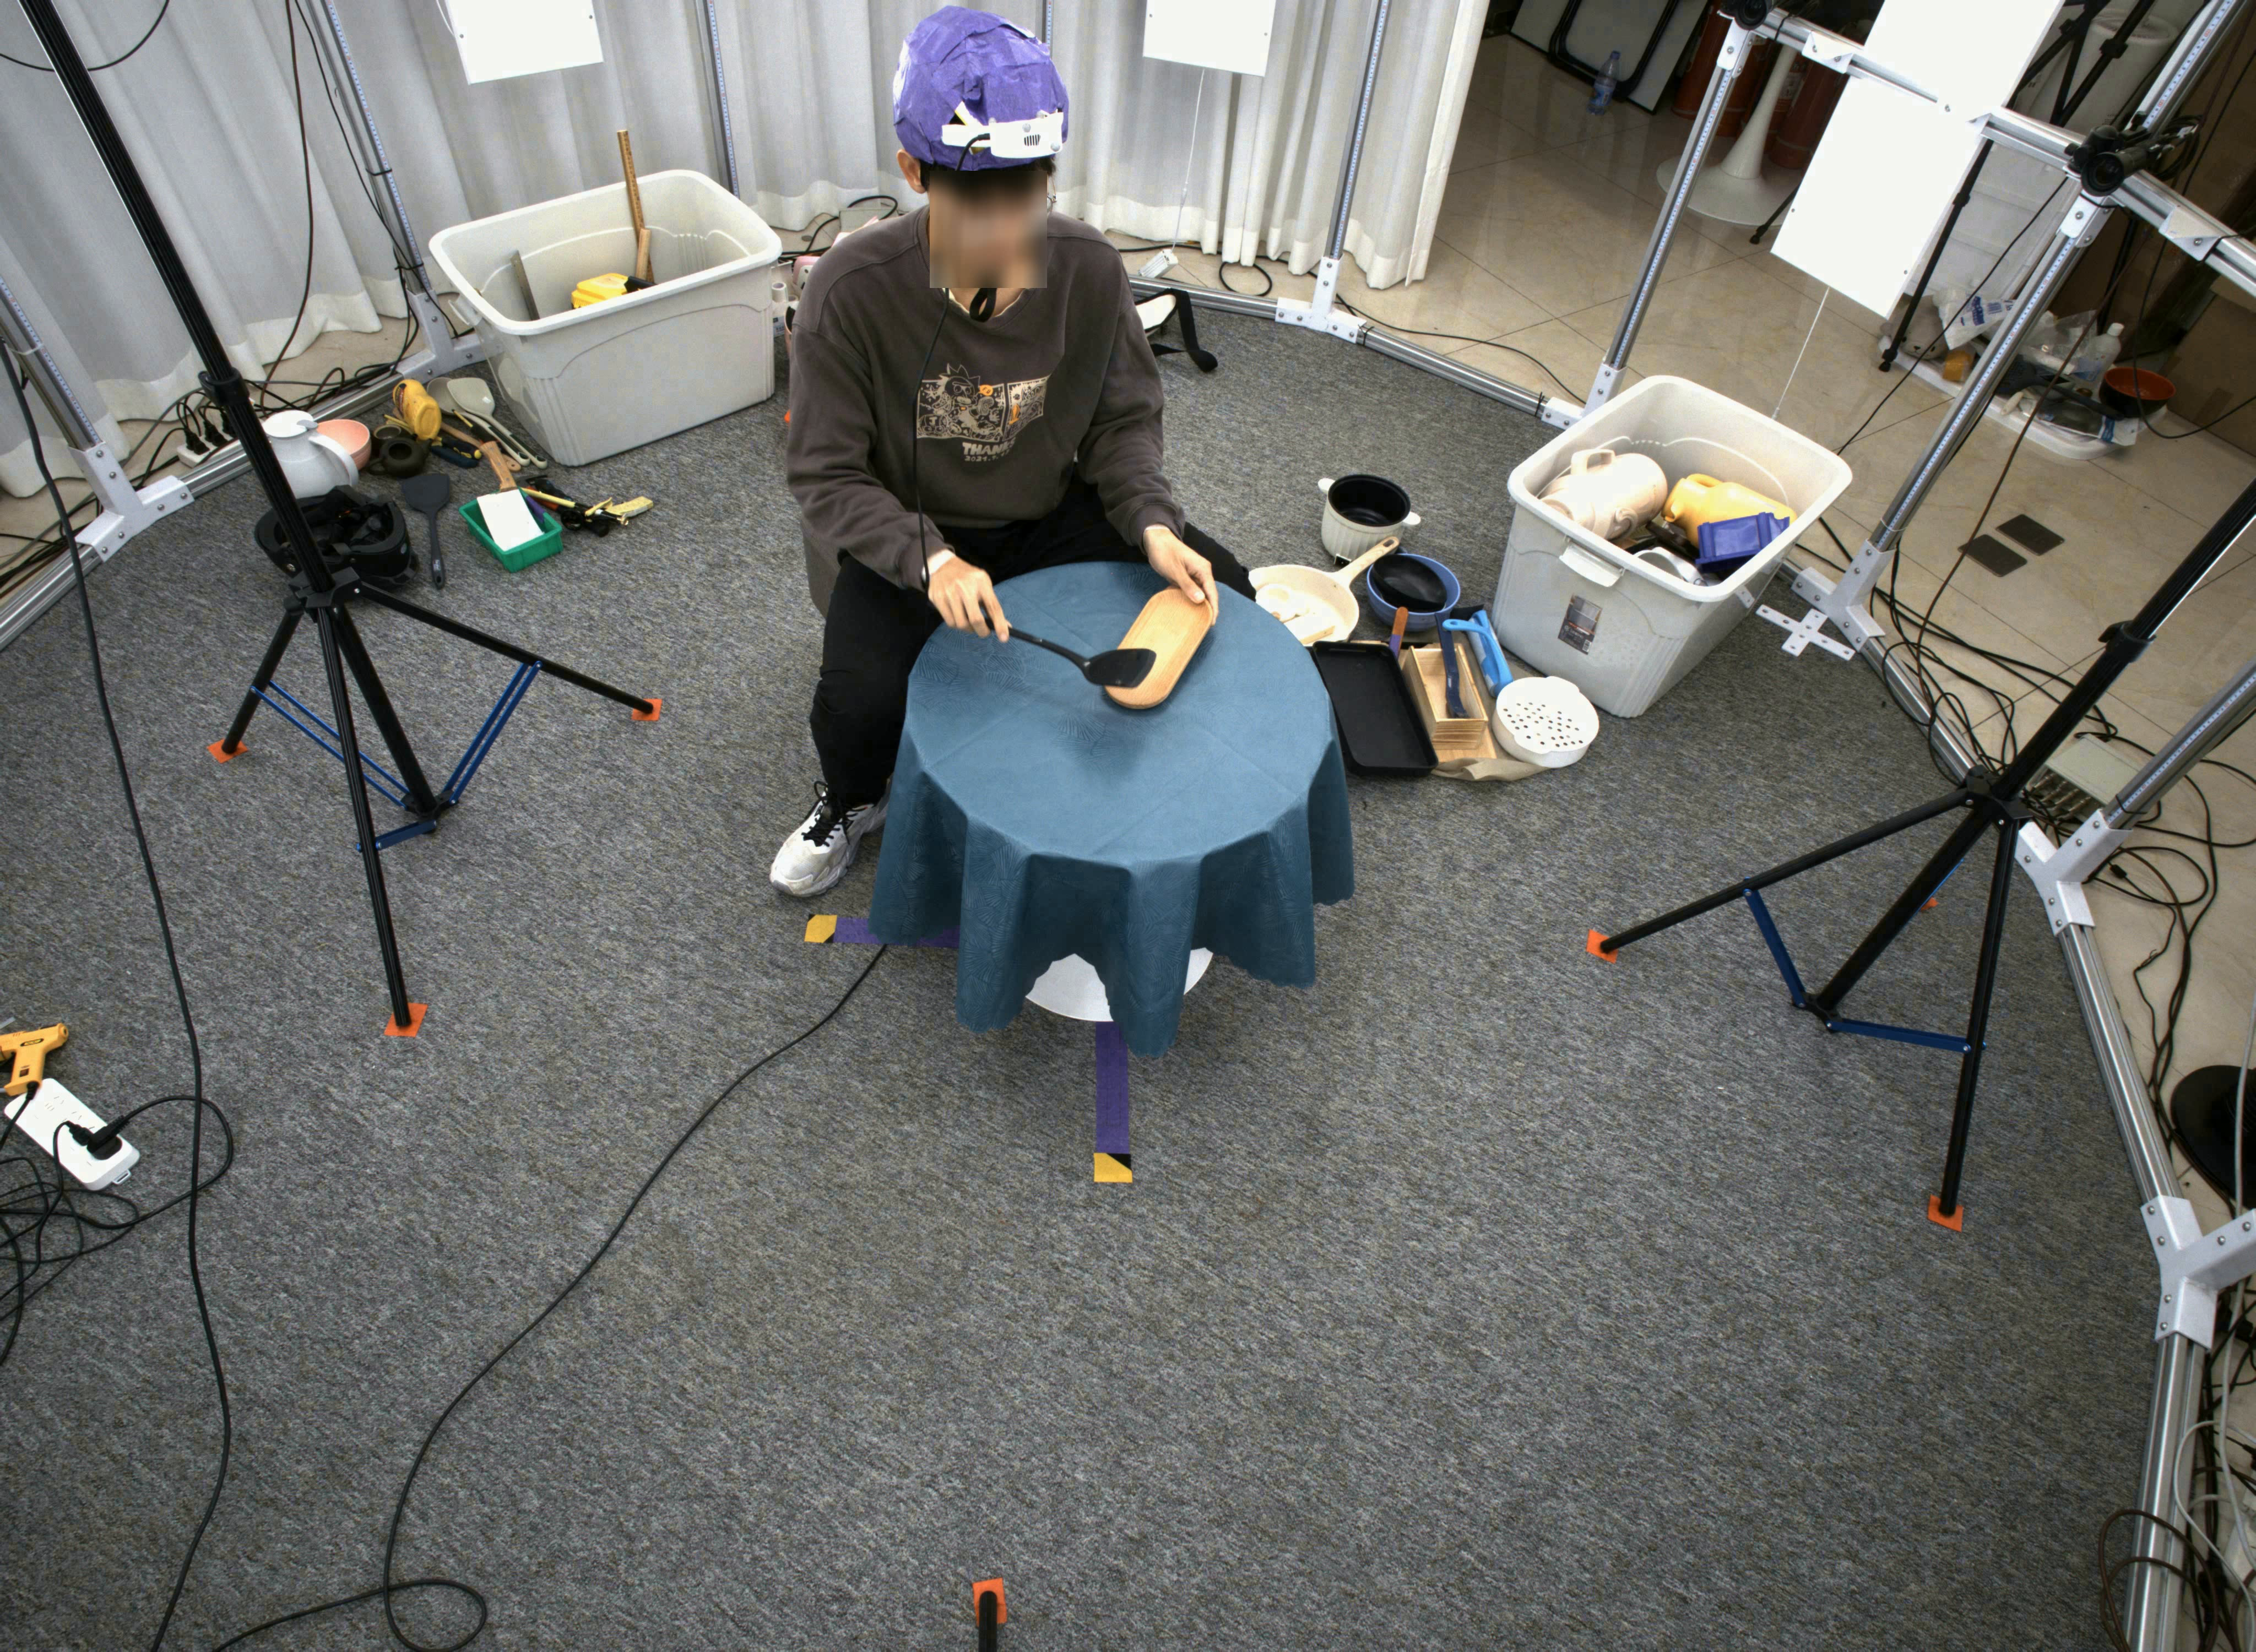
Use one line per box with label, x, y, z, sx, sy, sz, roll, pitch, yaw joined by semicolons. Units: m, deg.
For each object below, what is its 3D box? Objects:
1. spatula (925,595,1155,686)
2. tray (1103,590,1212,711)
spatula;-0.125;-0.262;1.751;0.327;0.039;0.101;23;39;6
tray;0.044;-0.256;1.860;0.102;0.020;0.235;21;60;17
